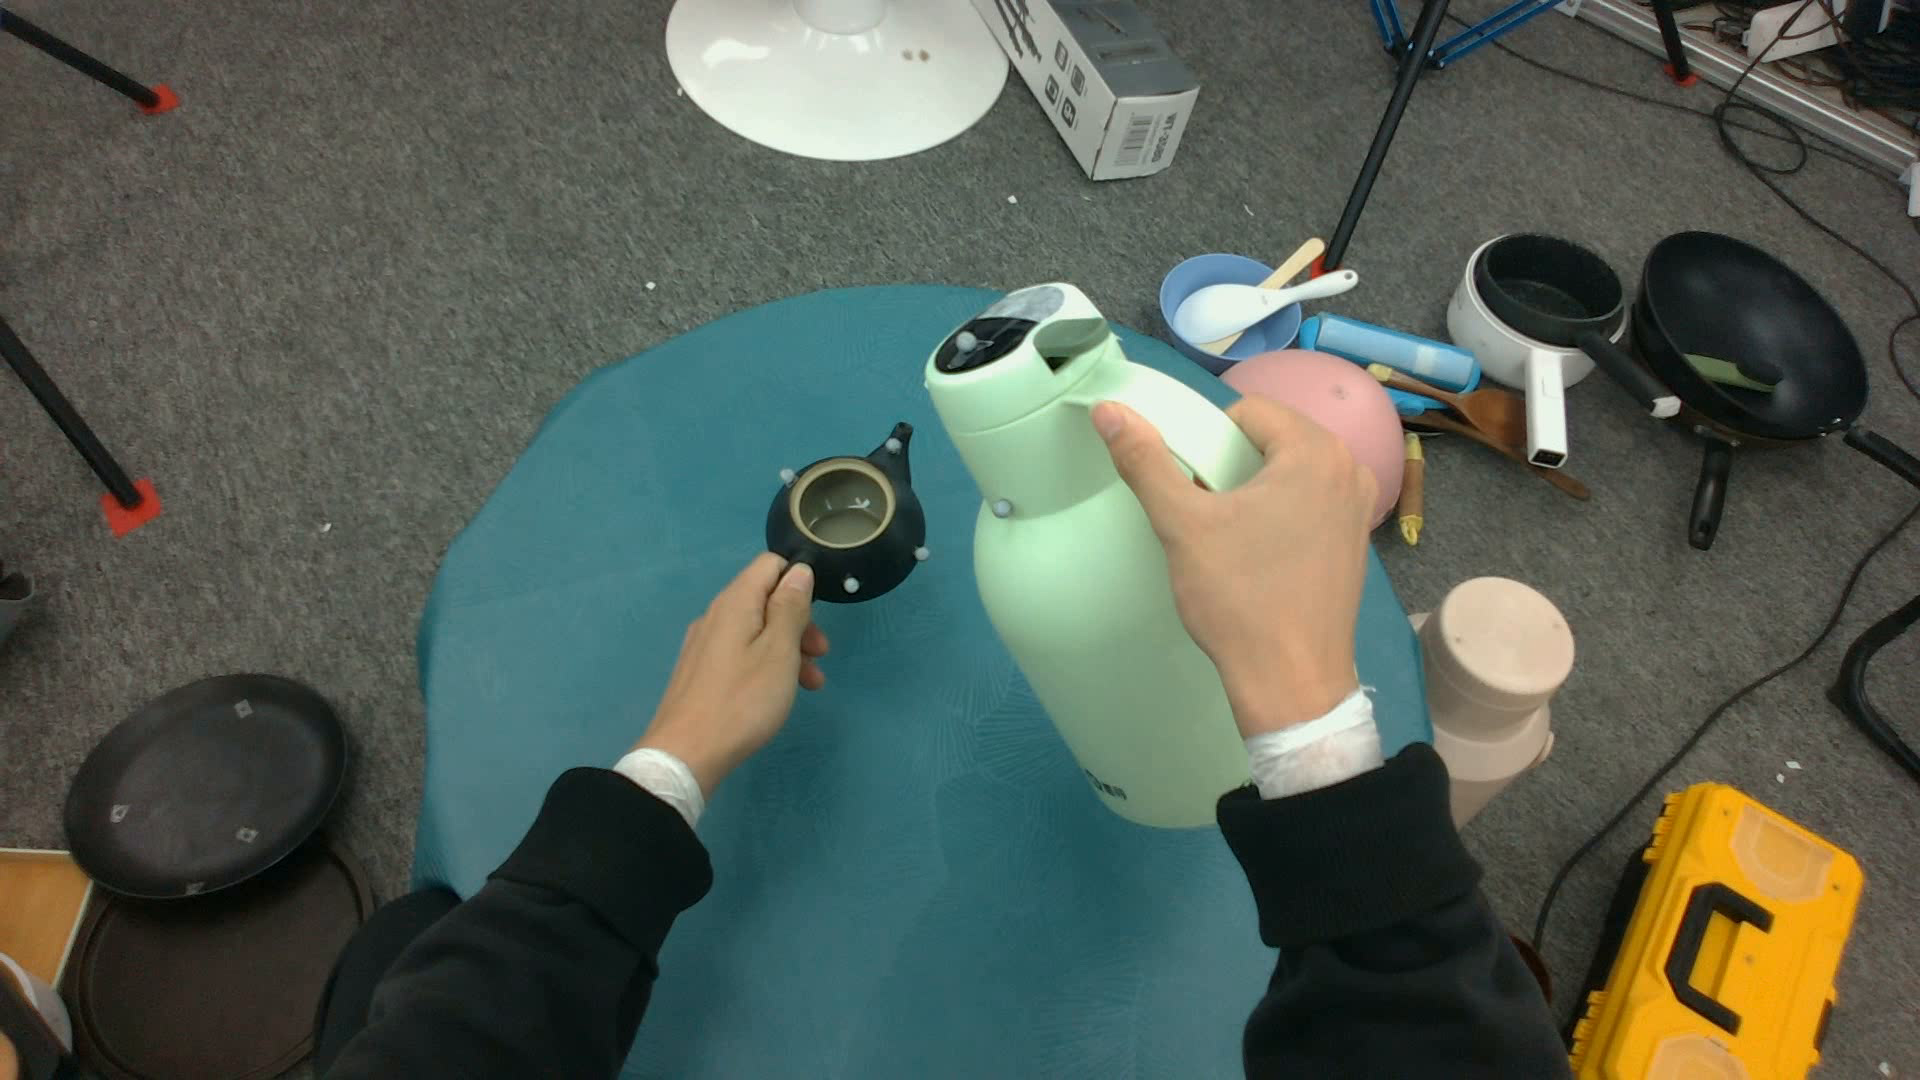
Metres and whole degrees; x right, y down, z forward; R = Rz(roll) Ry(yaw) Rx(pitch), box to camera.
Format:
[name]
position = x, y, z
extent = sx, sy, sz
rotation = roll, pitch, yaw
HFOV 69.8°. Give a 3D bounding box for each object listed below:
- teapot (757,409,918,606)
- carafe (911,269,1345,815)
[teapot]
position = -0.069, -0.014, 0.774
extent = 0.091, 0.053, 0.134
rotation = 27, 61, 15
[carafe]
position = 0.080, 0.000, 0.633
extent = 0.145, 0.256, 0.186
rotation = -45, 31, -23
